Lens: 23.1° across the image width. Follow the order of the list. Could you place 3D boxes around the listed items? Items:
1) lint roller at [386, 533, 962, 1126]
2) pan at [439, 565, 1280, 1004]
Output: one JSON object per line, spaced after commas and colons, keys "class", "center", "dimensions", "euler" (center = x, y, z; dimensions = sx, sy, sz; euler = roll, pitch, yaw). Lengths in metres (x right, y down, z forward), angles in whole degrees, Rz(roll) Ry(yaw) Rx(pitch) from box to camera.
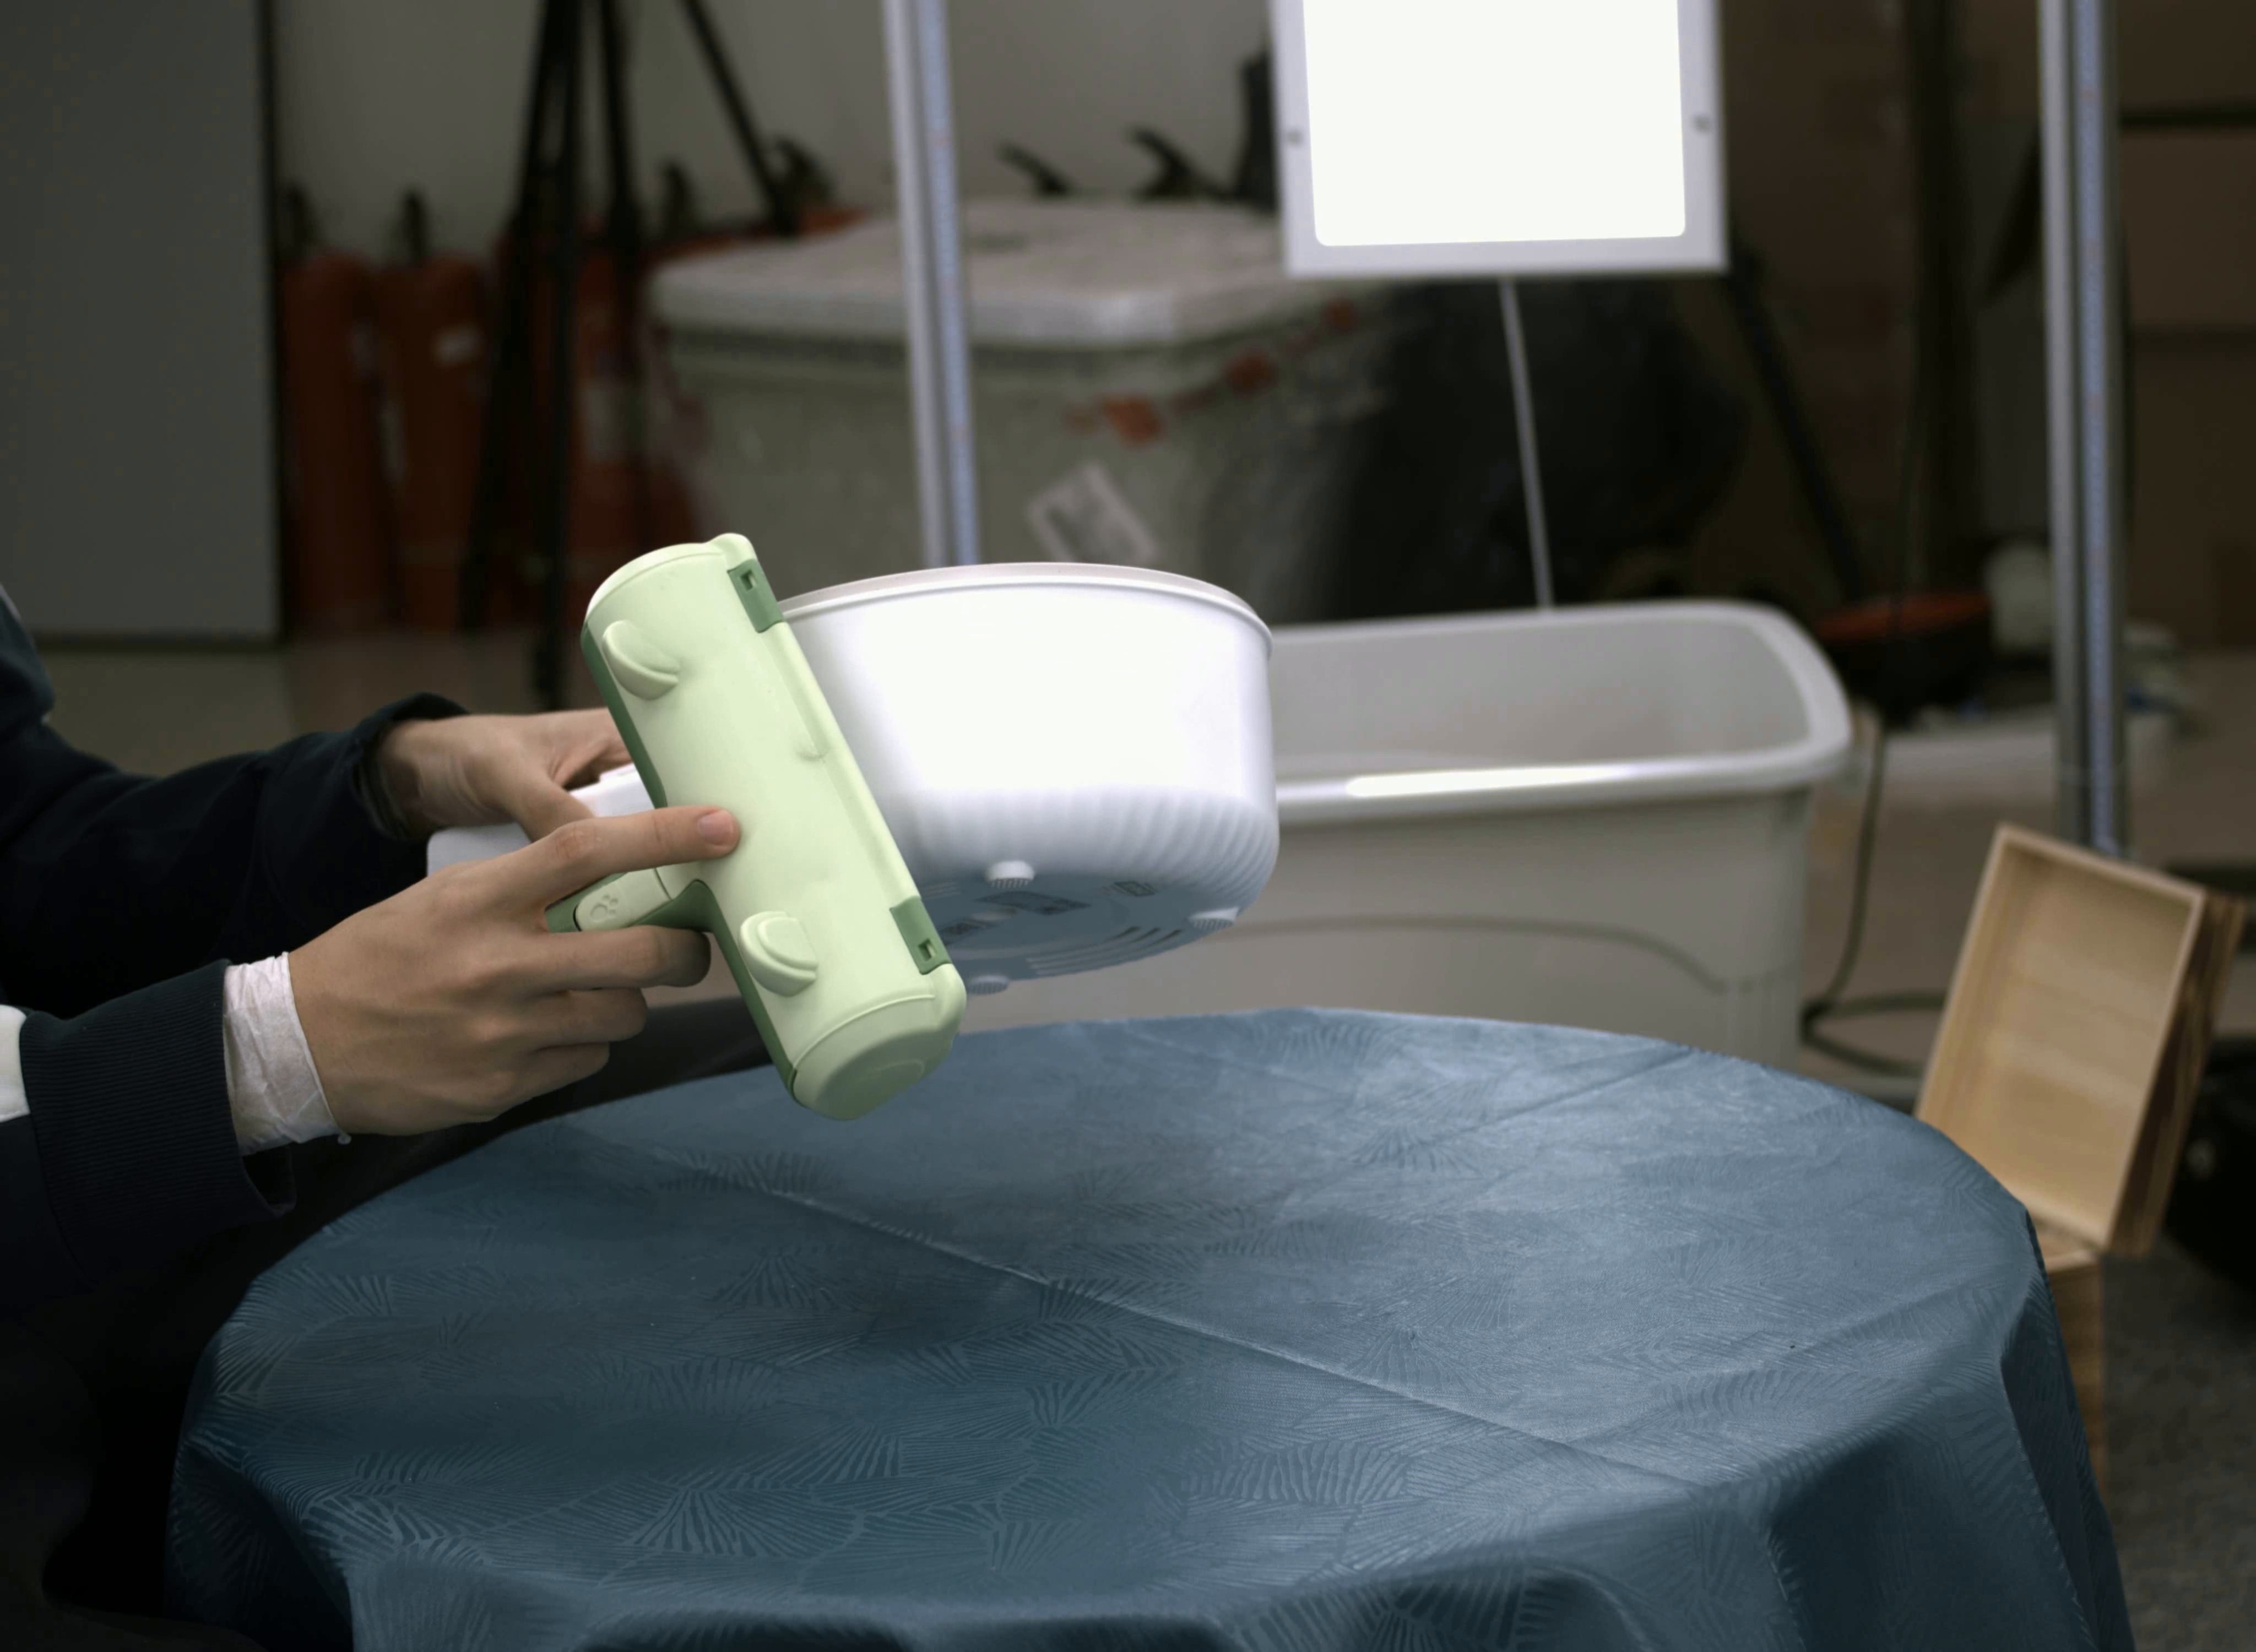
{"class": "lint roller", "center": [-0.166, 0.025, 1.735], "dimensions": [0.184, 0.200, 0.081], "euler": [-30, -28, 6]}
{"class": "pan", "center": [-0.105, 0.011, 1.891], "dimensions": [0.363, 0.102, 0.196], "euler": [-19, -20, 39]}
